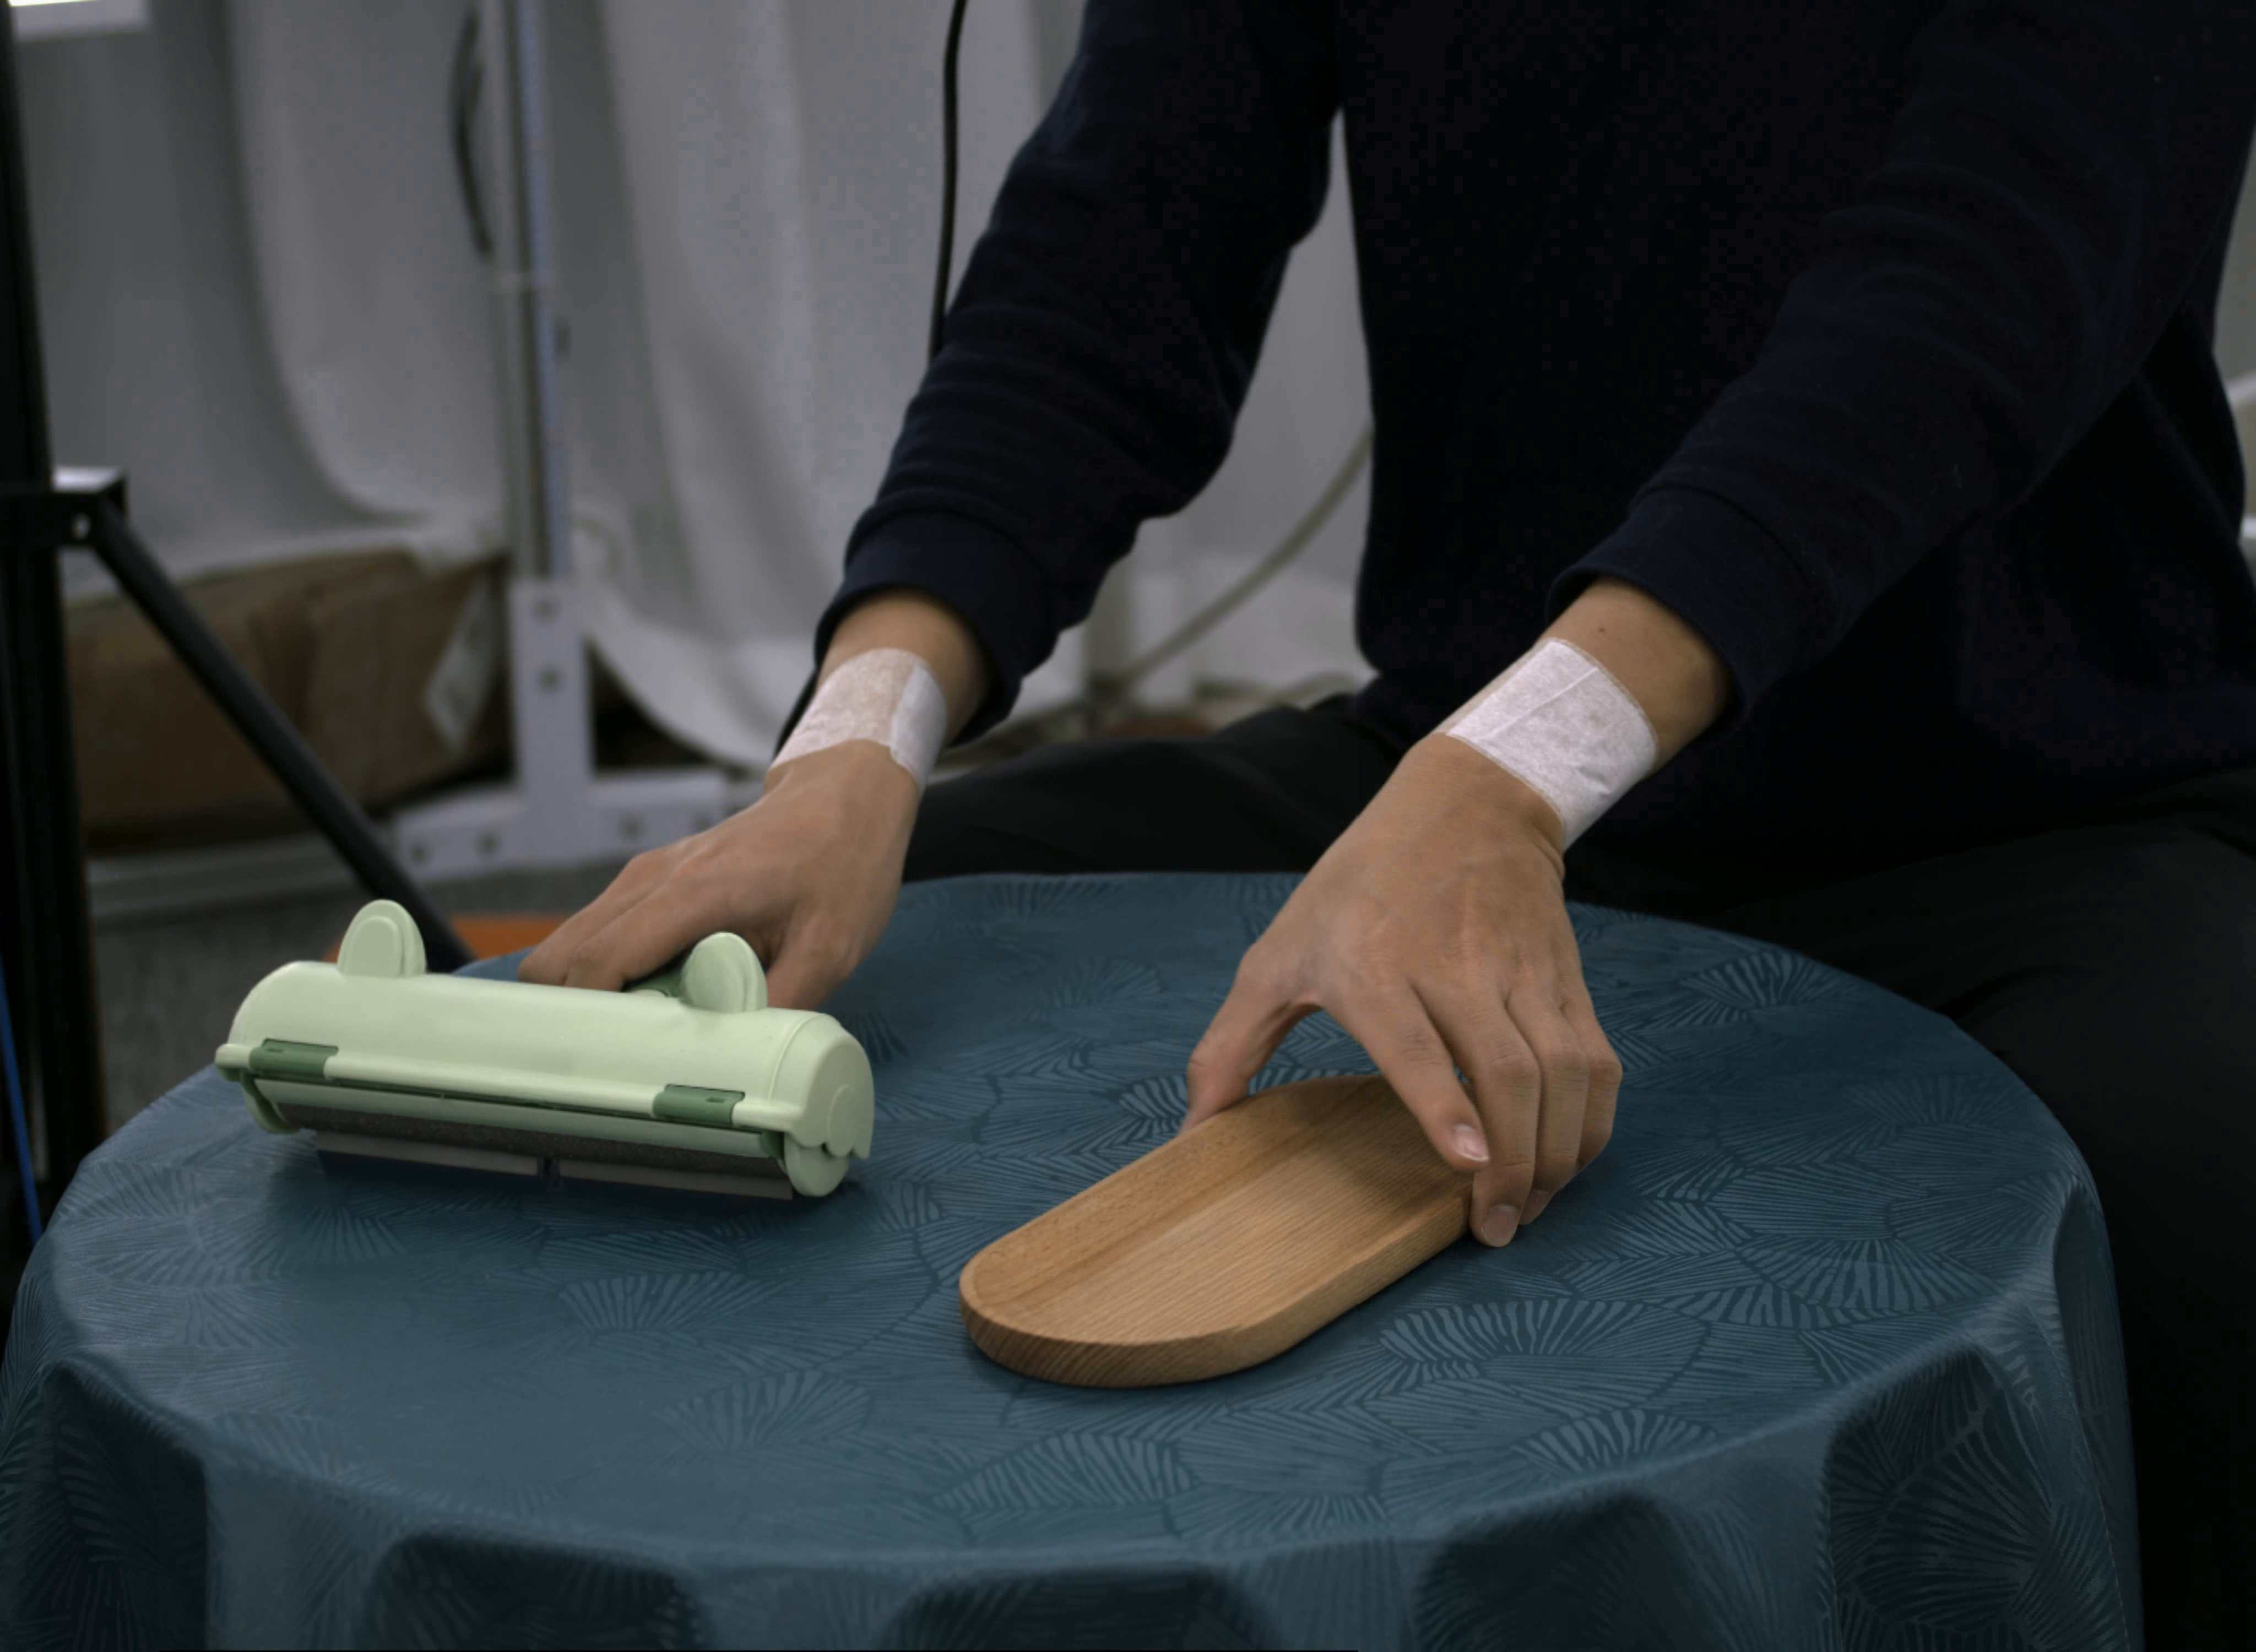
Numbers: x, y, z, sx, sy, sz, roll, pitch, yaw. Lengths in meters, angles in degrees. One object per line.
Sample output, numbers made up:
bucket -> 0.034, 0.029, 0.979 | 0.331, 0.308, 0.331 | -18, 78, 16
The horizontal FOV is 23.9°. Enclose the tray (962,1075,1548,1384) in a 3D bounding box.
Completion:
tray -> 0.039, 0.112, 1.505 | 0.103, 0.020, 0.227 | 9, 18, 31

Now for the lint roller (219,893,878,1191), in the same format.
lint roller -> -0.152, 0.047, 1.639 | 0.201, 0.082, 0.181 | 5, 23, 23
